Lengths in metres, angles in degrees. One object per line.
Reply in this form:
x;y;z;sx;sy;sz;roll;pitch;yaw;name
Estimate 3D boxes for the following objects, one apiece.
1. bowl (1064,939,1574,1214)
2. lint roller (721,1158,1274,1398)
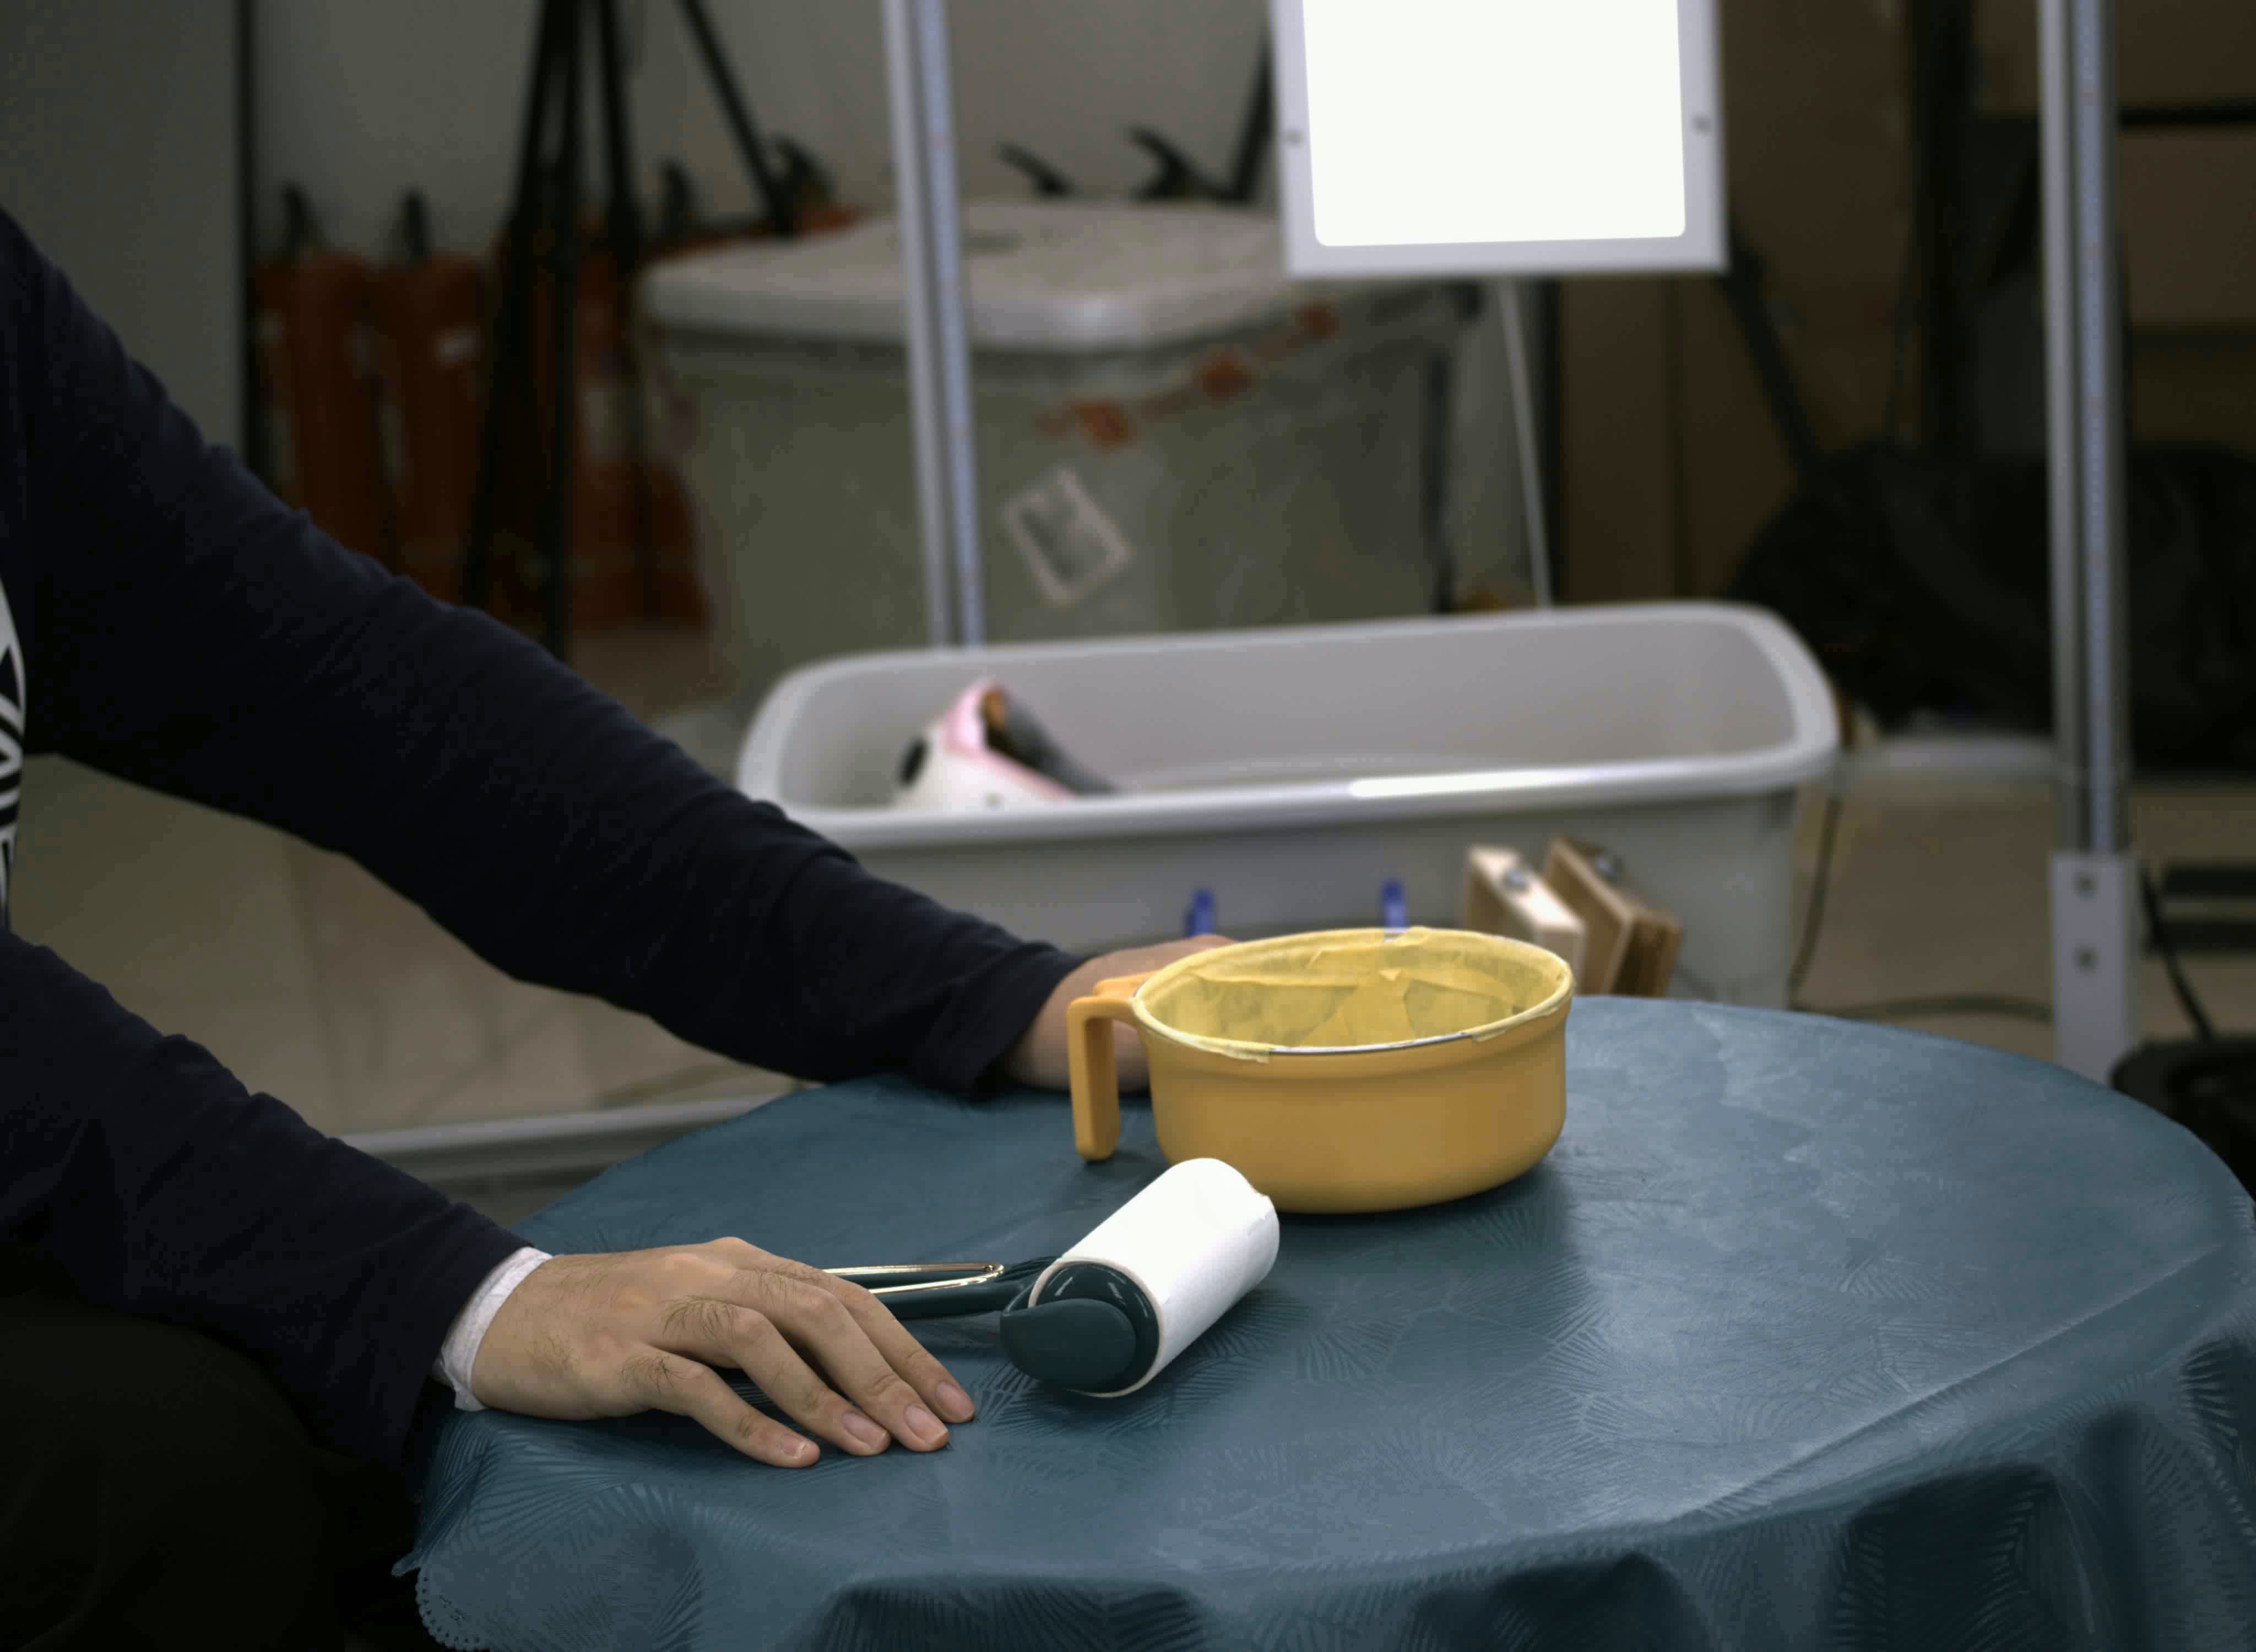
0.067;0.087;1.903;0.181;0.074;0.150;0;16;18;bowl
-0.053;0.145;1.766;0.183;0.048;0.132;-3;14;25;lint roller
